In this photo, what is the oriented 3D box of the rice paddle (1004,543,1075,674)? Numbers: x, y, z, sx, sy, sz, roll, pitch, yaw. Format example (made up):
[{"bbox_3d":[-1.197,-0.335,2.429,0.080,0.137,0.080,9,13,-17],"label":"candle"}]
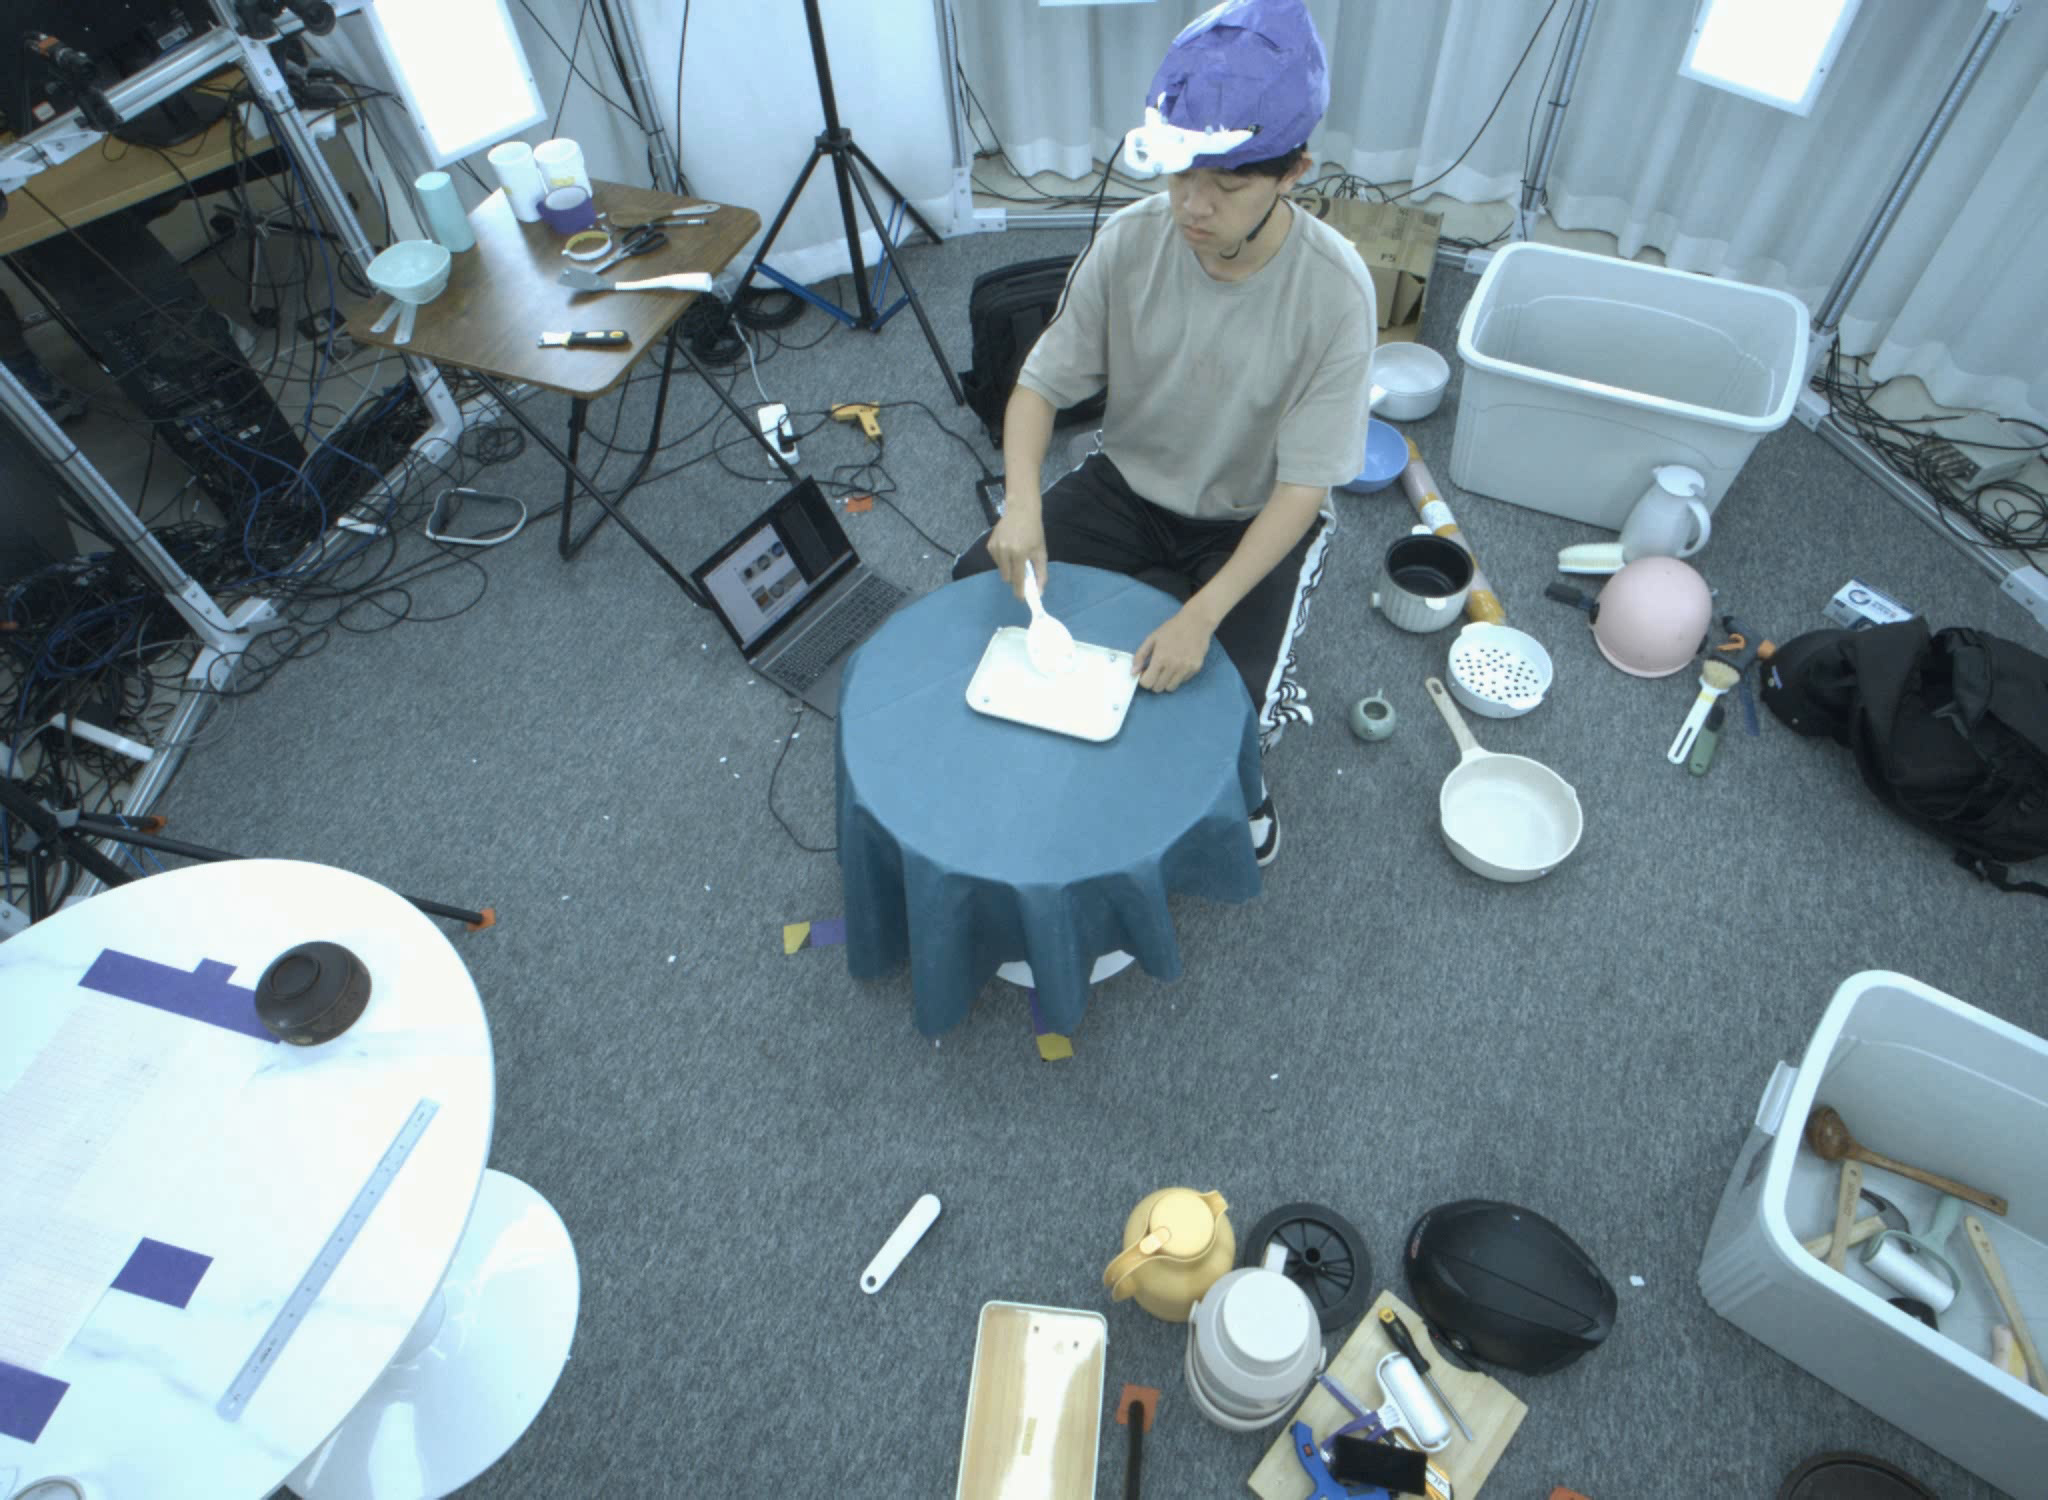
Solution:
[{"bbox_3d":[0.020,-0.212,1.848,0.069,0.029,0.205,-21,92,-5],"label":"rice paddle"}]

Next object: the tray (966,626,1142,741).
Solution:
[{"bbox_3d":[0.045,-0.100,1.843,0.237,0.017,0.171,15,58,12],"label":"tray"}]
